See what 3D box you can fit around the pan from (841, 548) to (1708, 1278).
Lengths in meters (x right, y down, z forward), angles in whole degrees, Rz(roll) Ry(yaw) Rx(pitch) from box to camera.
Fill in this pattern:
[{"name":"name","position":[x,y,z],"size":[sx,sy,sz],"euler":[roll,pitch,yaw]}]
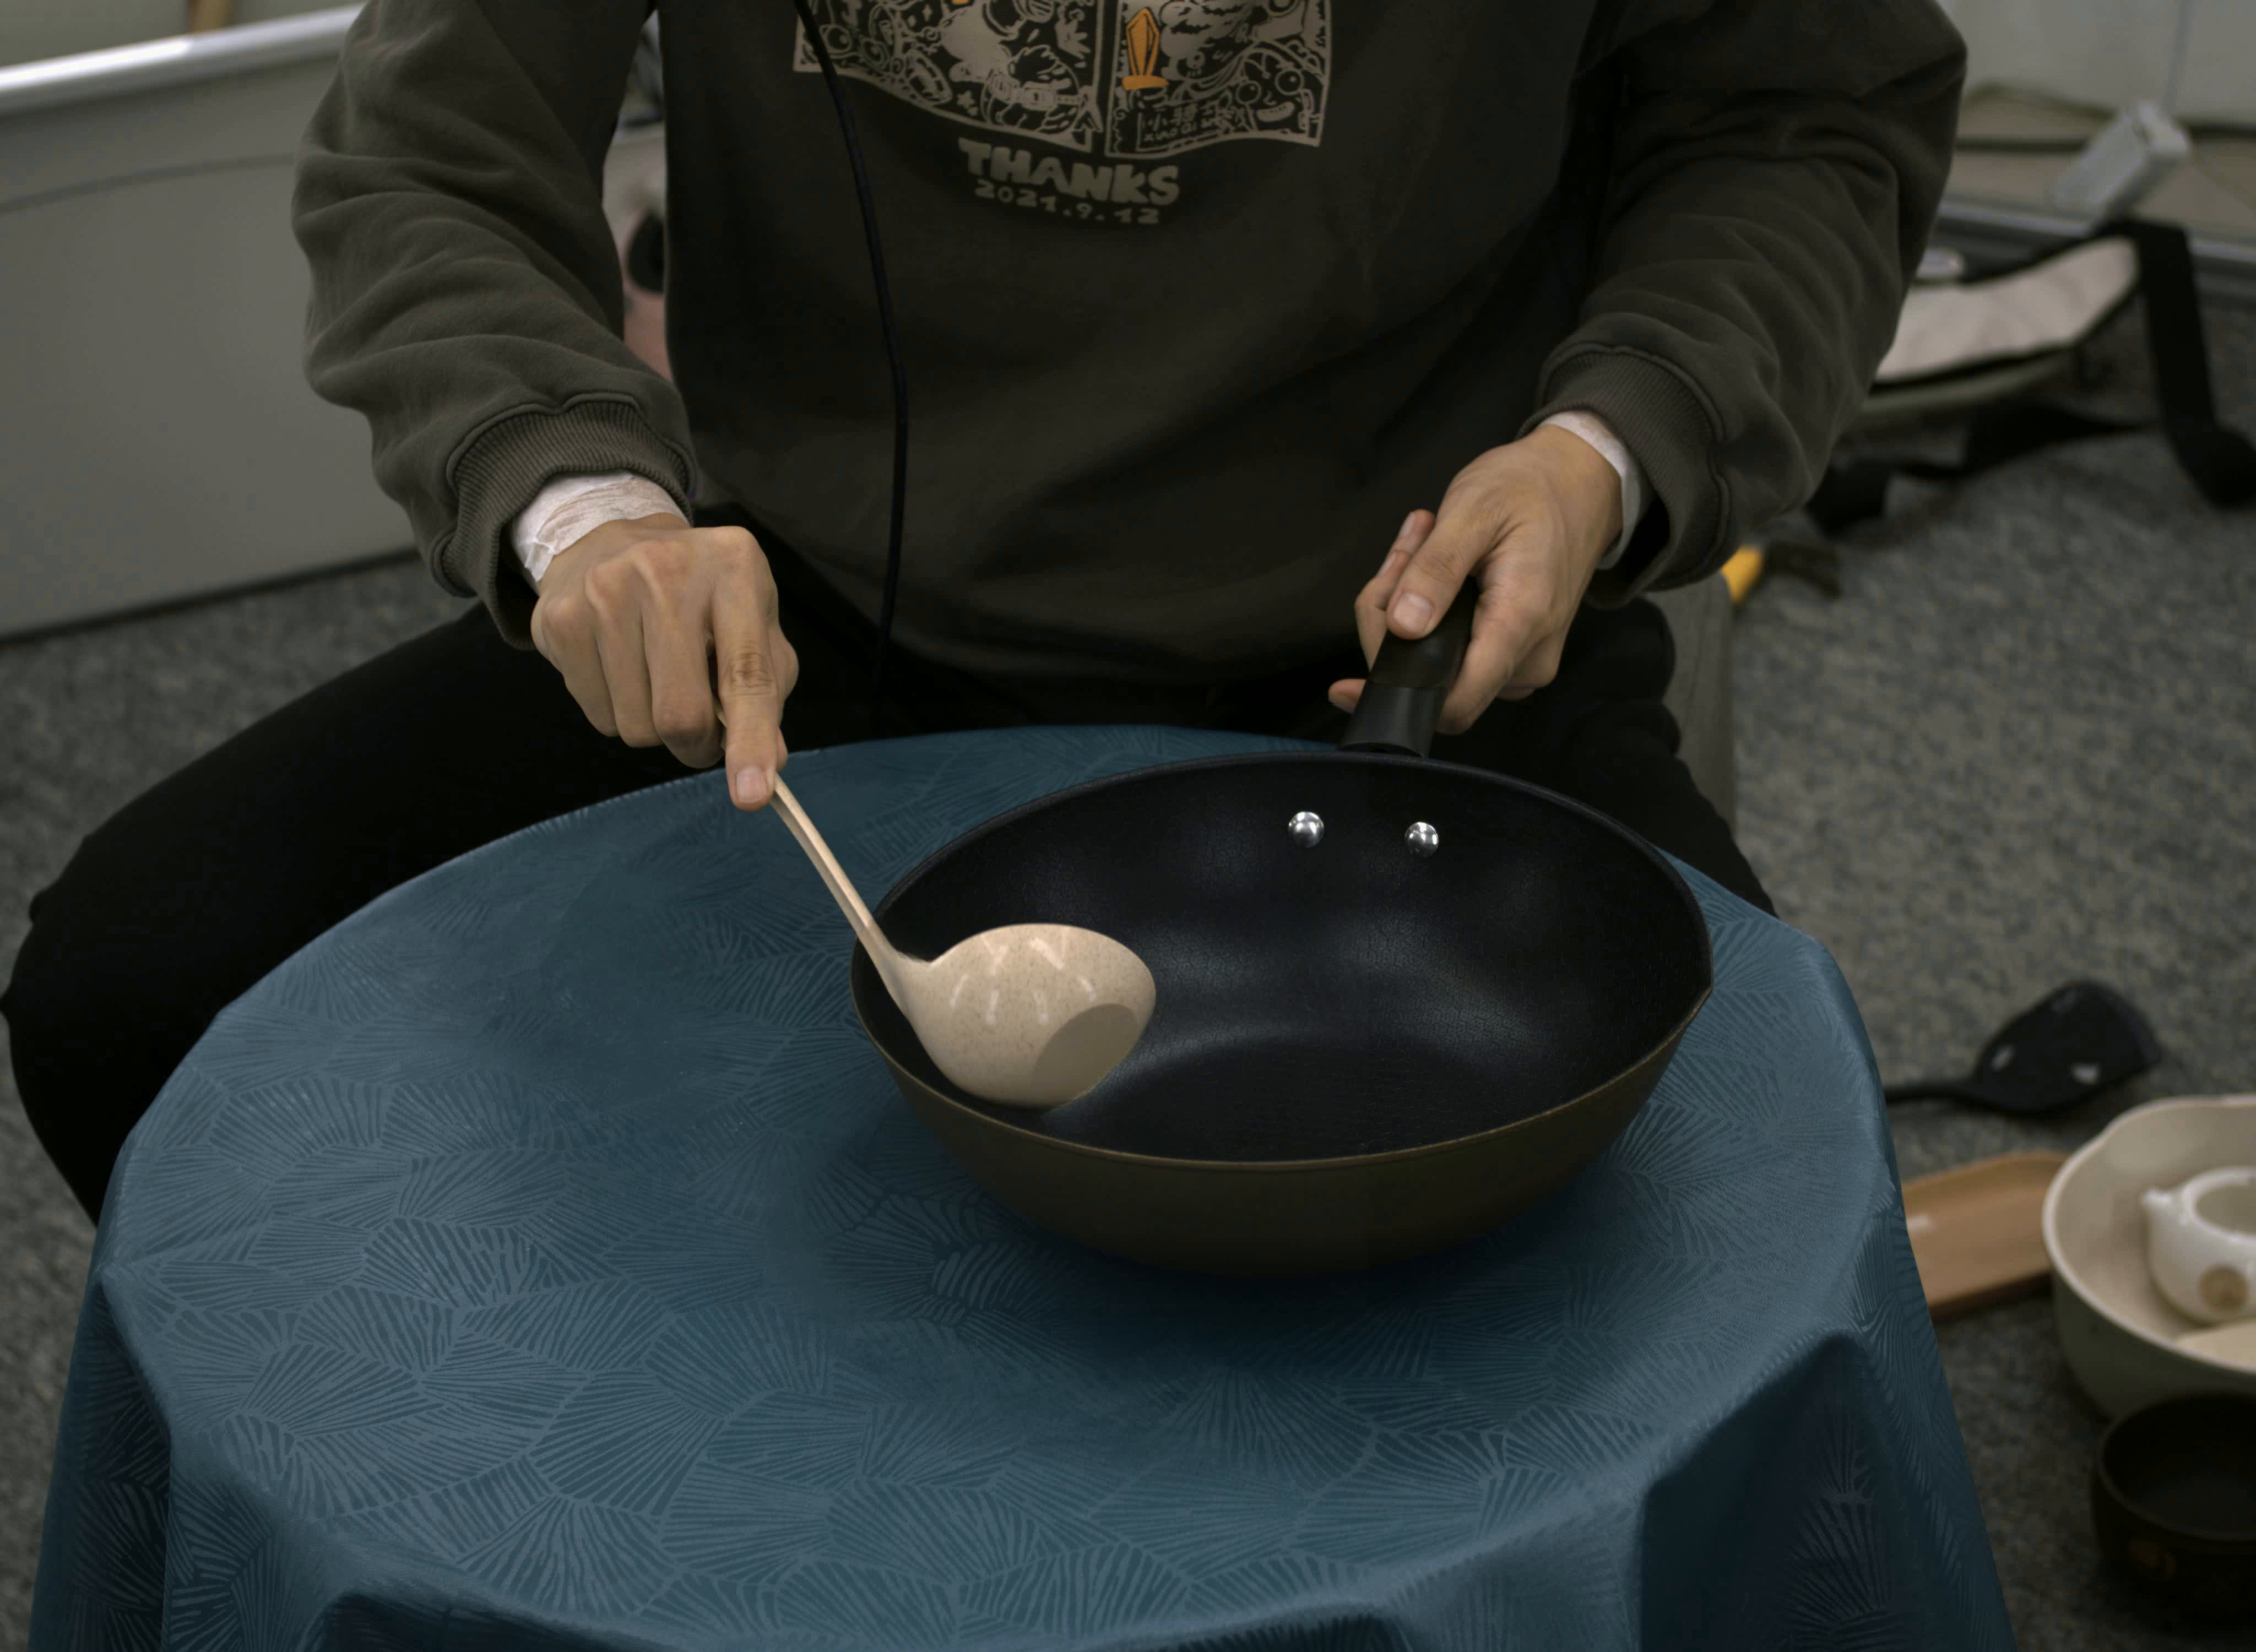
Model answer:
[{"name":"pan","position":[0.072,0.031,1.937],"size":[0.286,0.086,0.471],"euler":[4,27,14]}]

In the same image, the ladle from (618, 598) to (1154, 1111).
[{"name":"ladle","position":[-0.079,-0.008,1.833],"size":[0.073,0.071,0.257],"euler":[-29,54,-10]}]
